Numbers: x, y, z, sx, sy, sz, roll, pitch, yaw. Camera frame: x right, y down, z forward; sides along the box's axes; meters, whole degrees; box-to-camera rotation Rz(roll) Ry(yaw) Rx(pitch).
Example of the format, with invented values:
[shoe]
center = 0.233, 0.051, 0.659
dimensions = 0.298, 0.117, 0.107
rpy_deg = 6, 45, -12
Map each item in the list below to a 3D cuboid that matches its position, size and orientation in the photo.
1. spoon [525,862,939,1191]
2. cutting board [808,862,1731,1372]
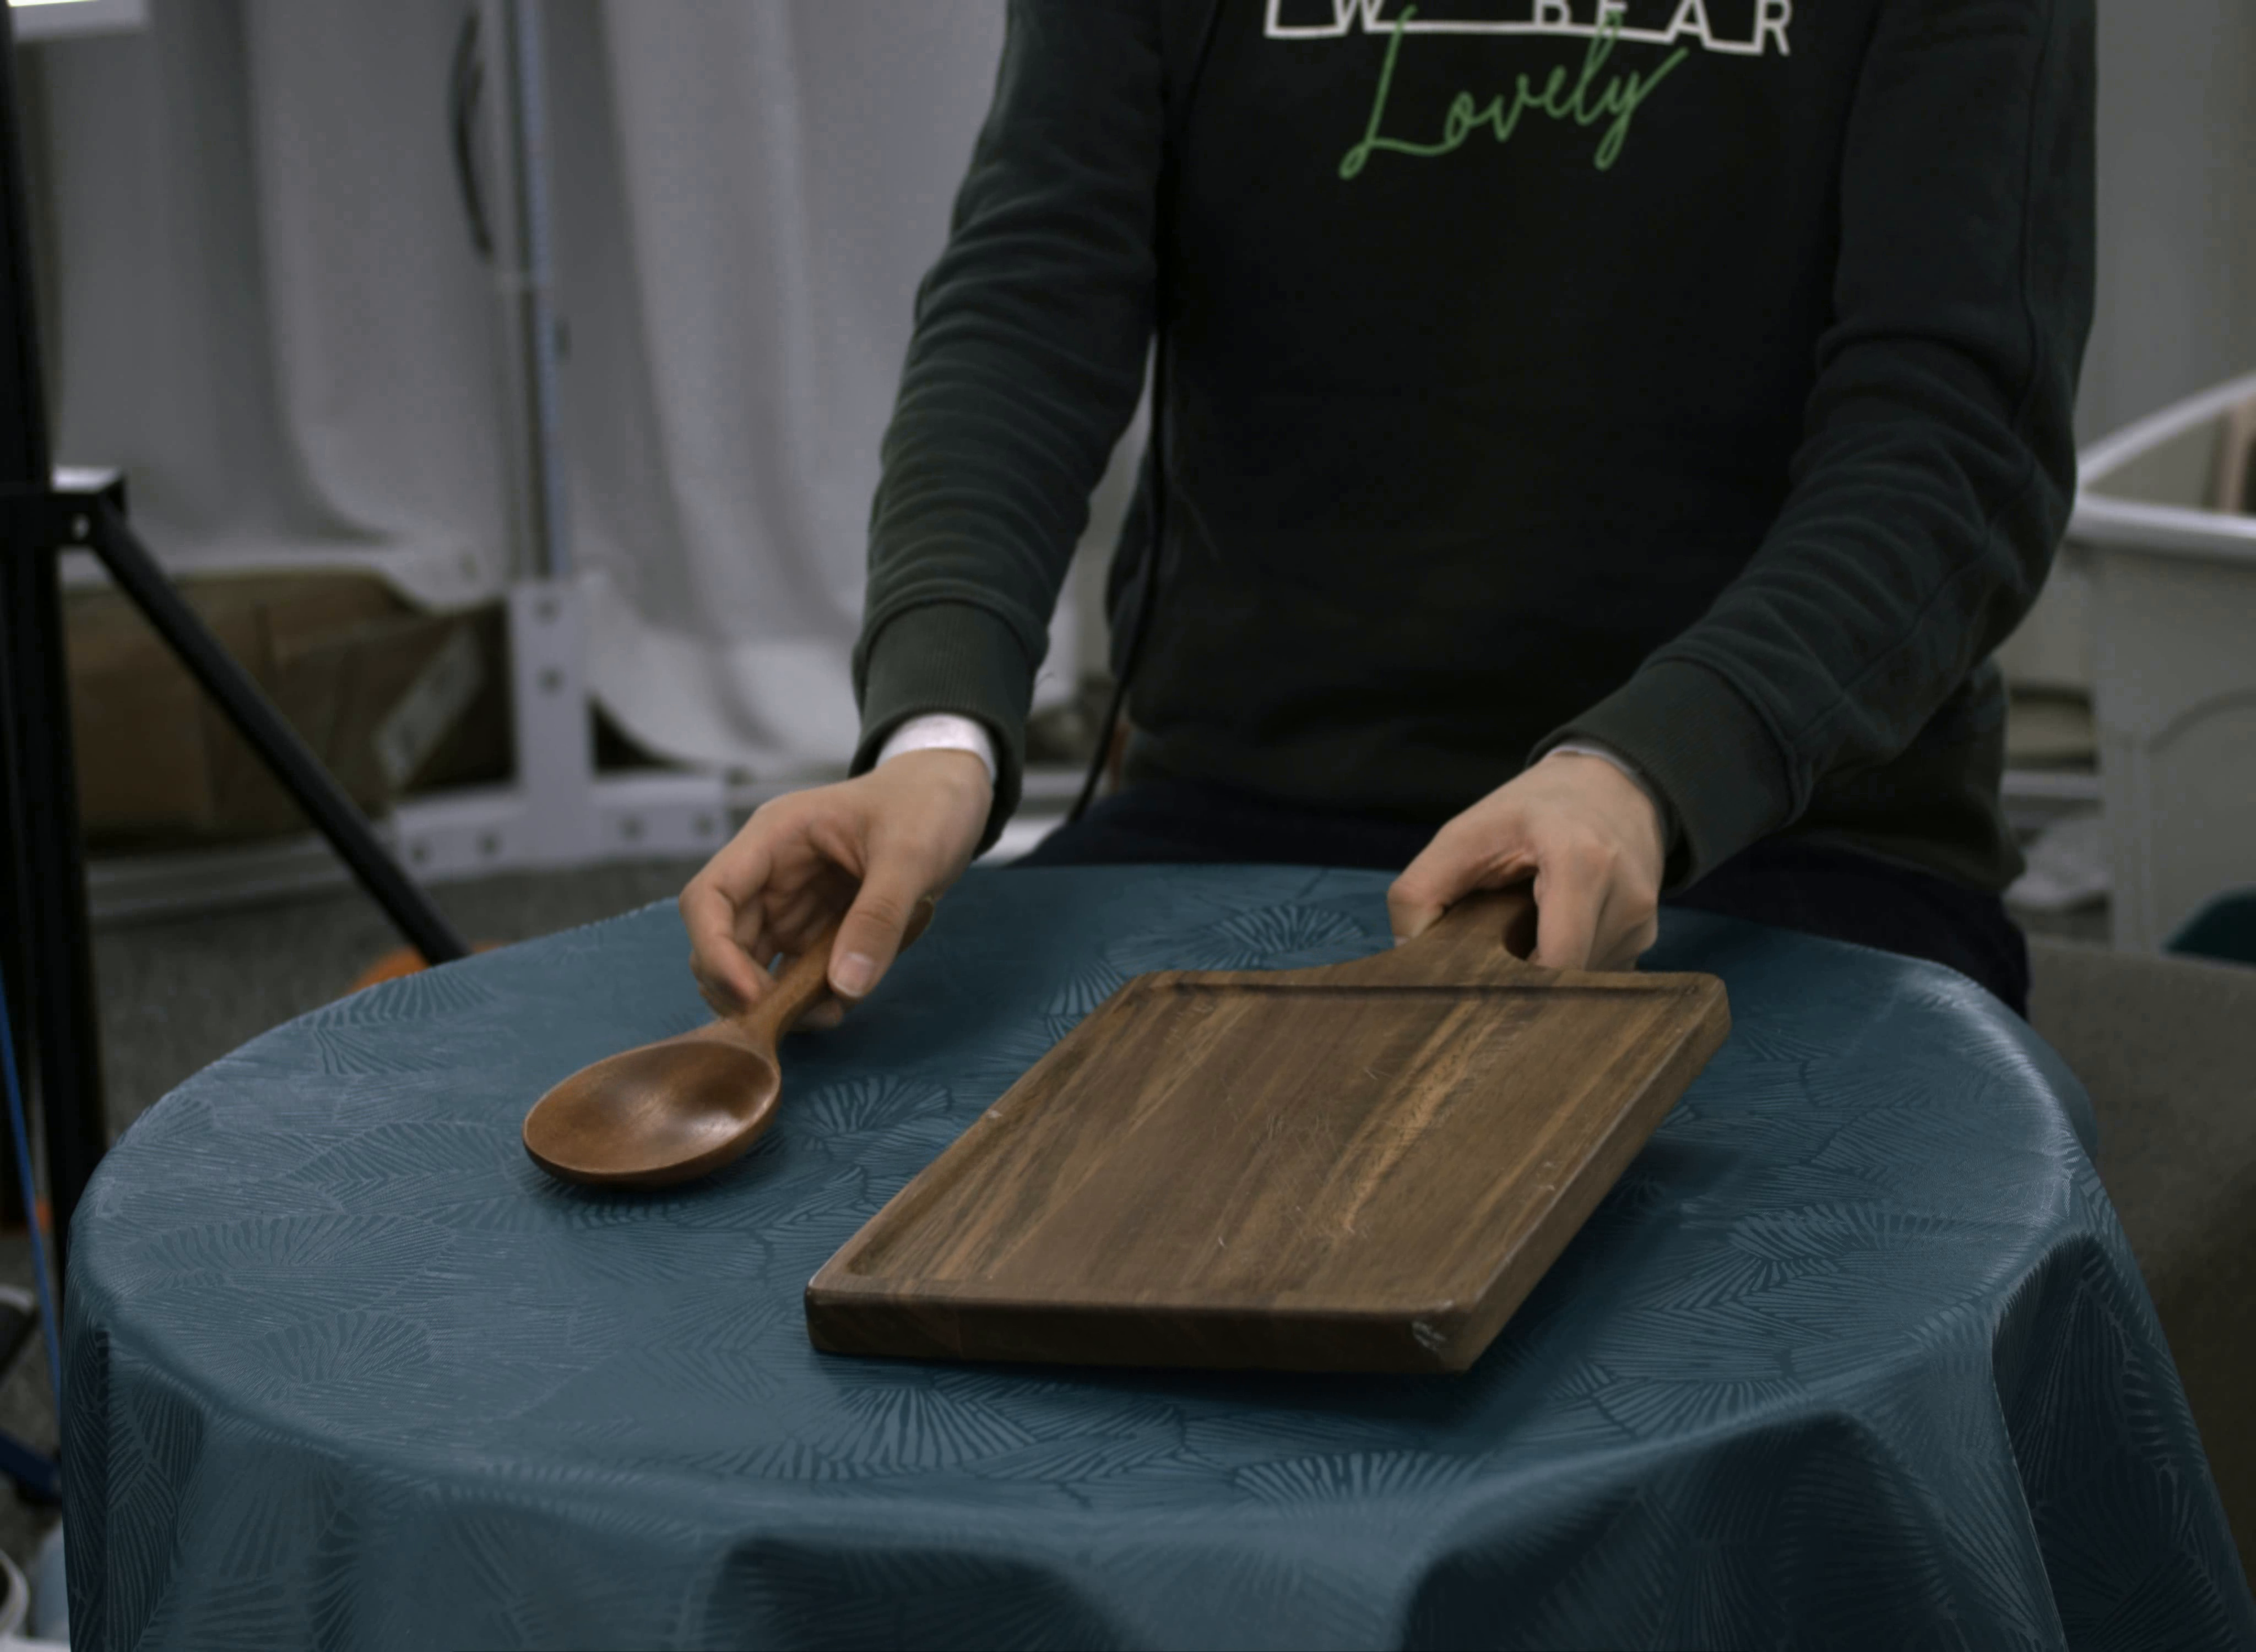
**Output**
[spoon]
center = -0.114, 0.063, 1.656
dimensions = 0.076, 0.017, 0.213
rpy_deg = 4, 27, 27
[cutting board]
center = 0.064, 0.079, 1.550
dimensions = 0.204, 0.023, 0.348
rpy_deg = -2, 18, 25
